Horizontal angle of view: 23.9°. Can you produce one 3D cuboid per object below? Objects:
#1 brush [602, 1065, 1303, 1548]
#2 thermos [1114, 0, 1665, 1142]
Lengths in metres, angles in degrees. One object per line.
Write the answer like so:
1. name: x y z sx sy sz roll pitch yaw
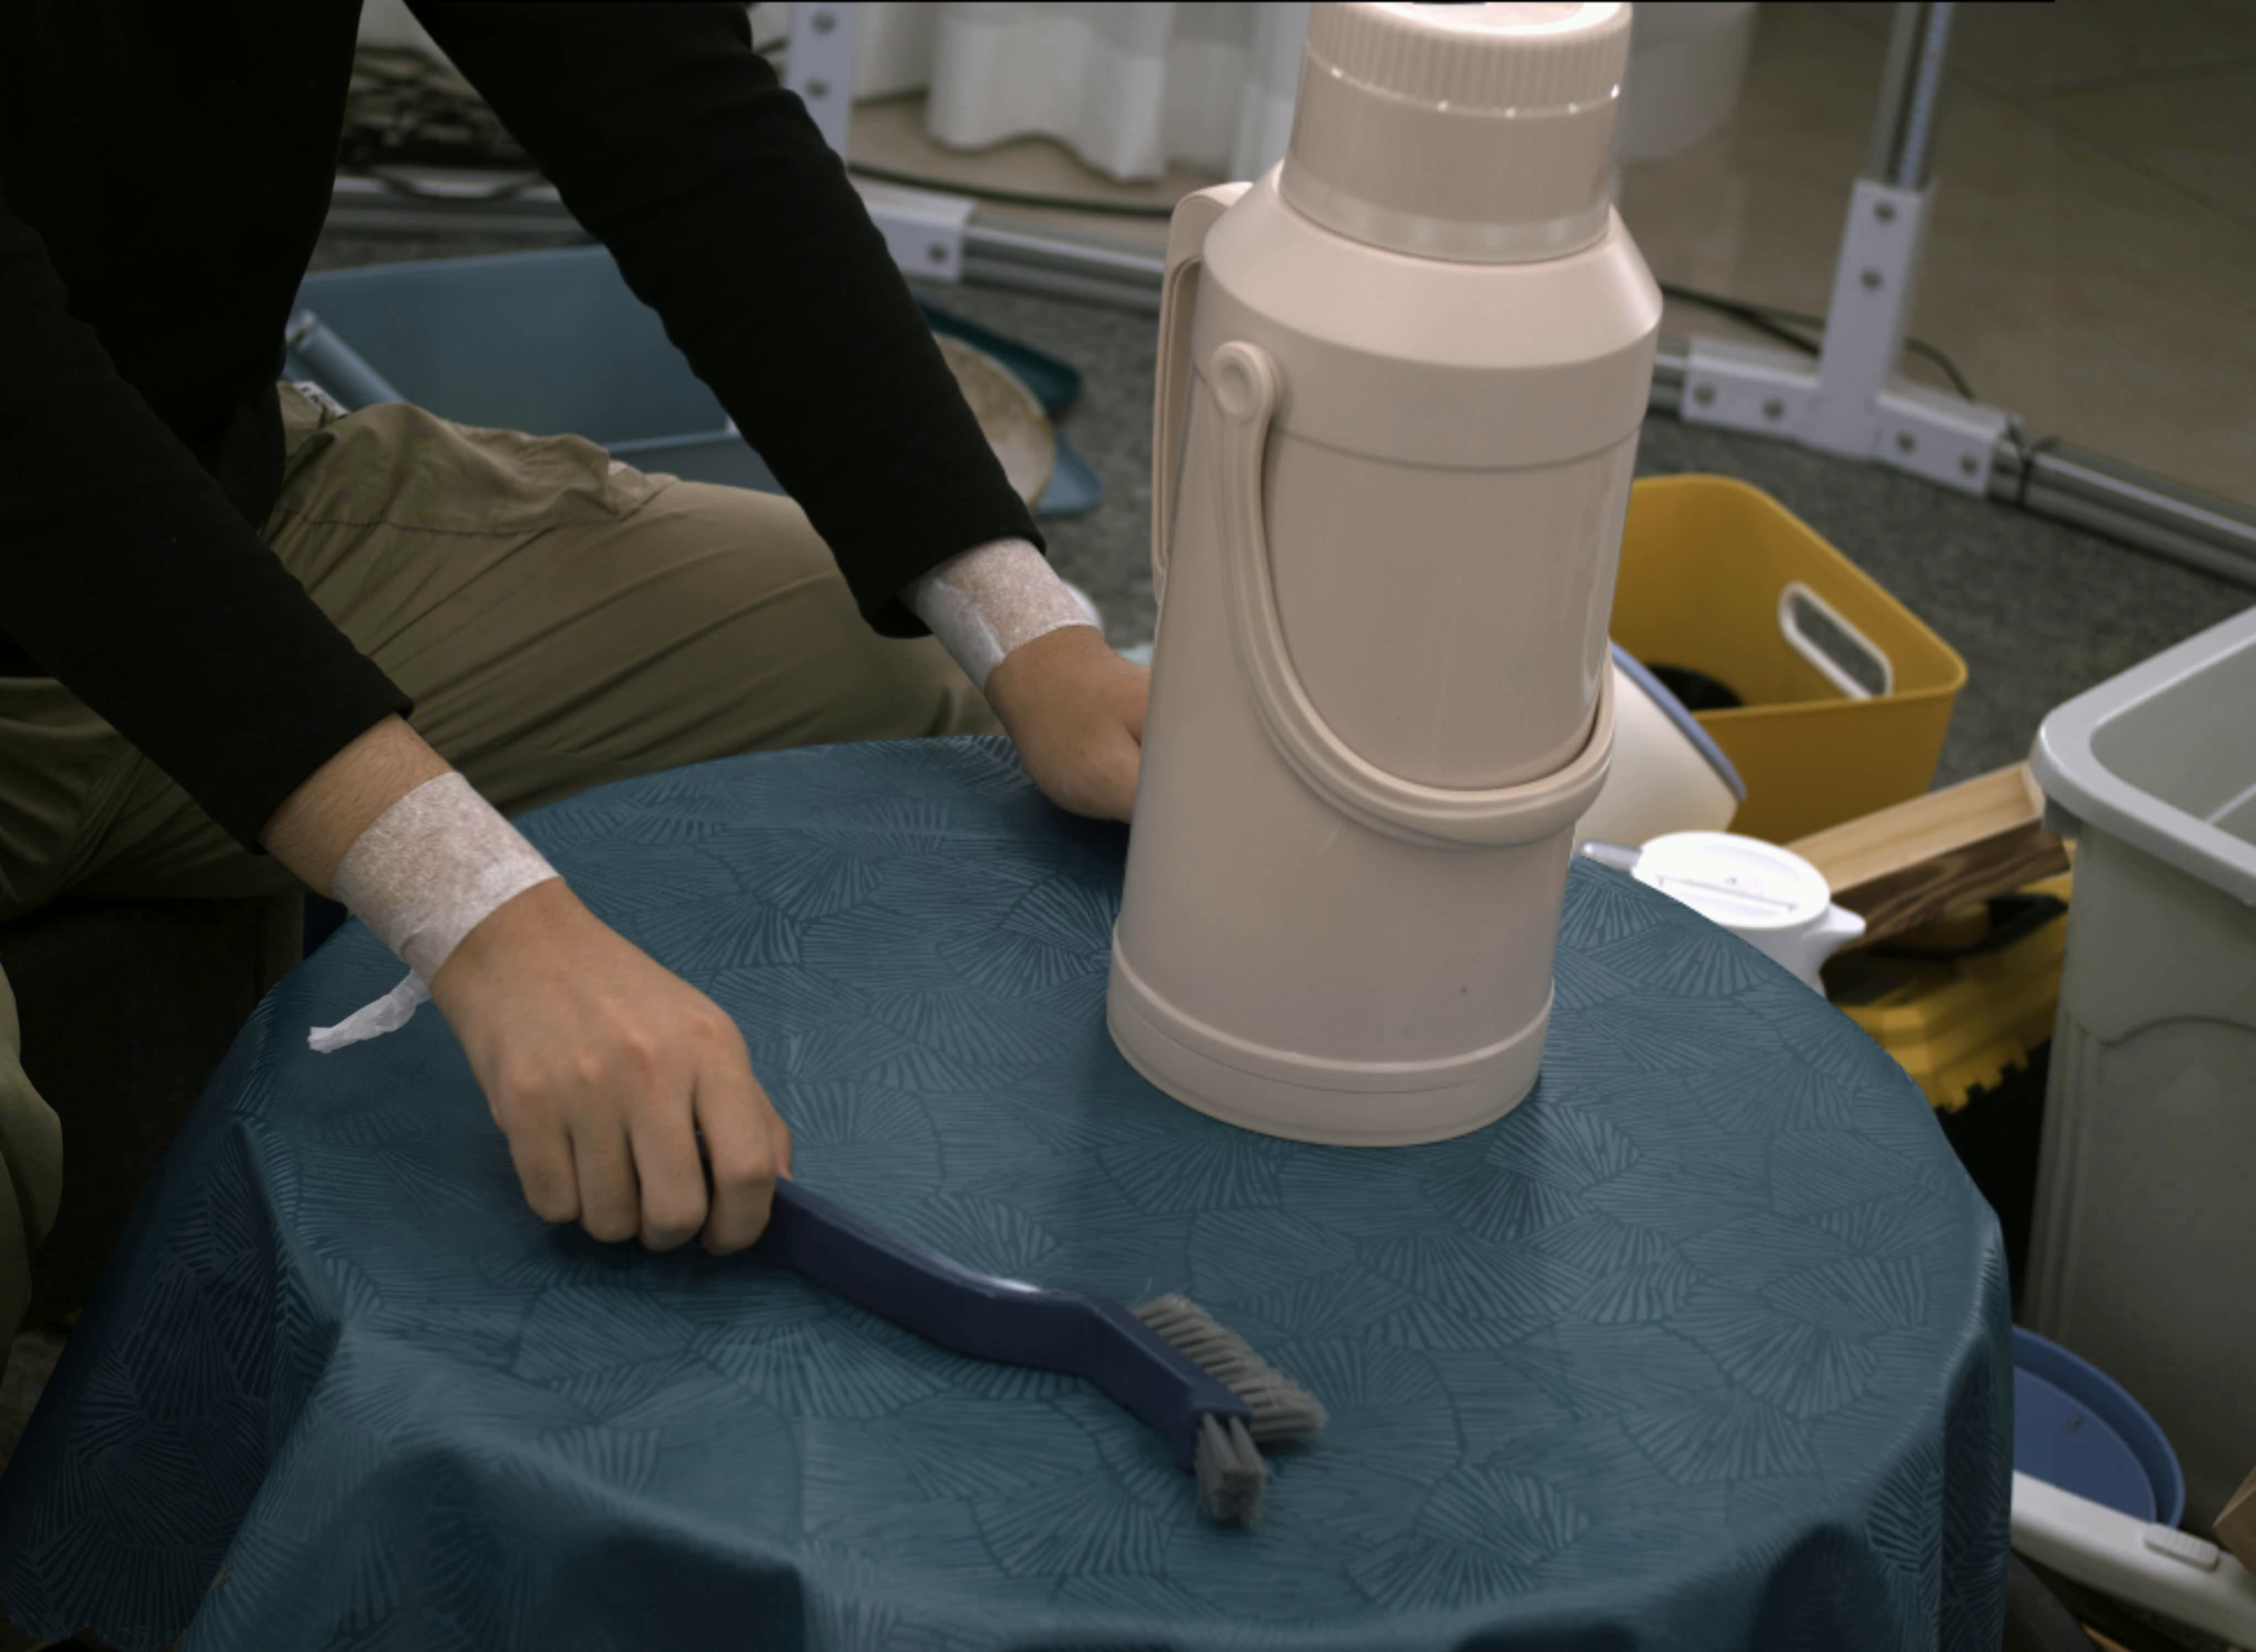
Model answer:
1. brush: -0.069 0.149 1.699 0.274 0.033 0.095 21 29 21
2. thermos: 0.084 -0.107 1.837 0.174 0.405 0.209 -19 36 -38
